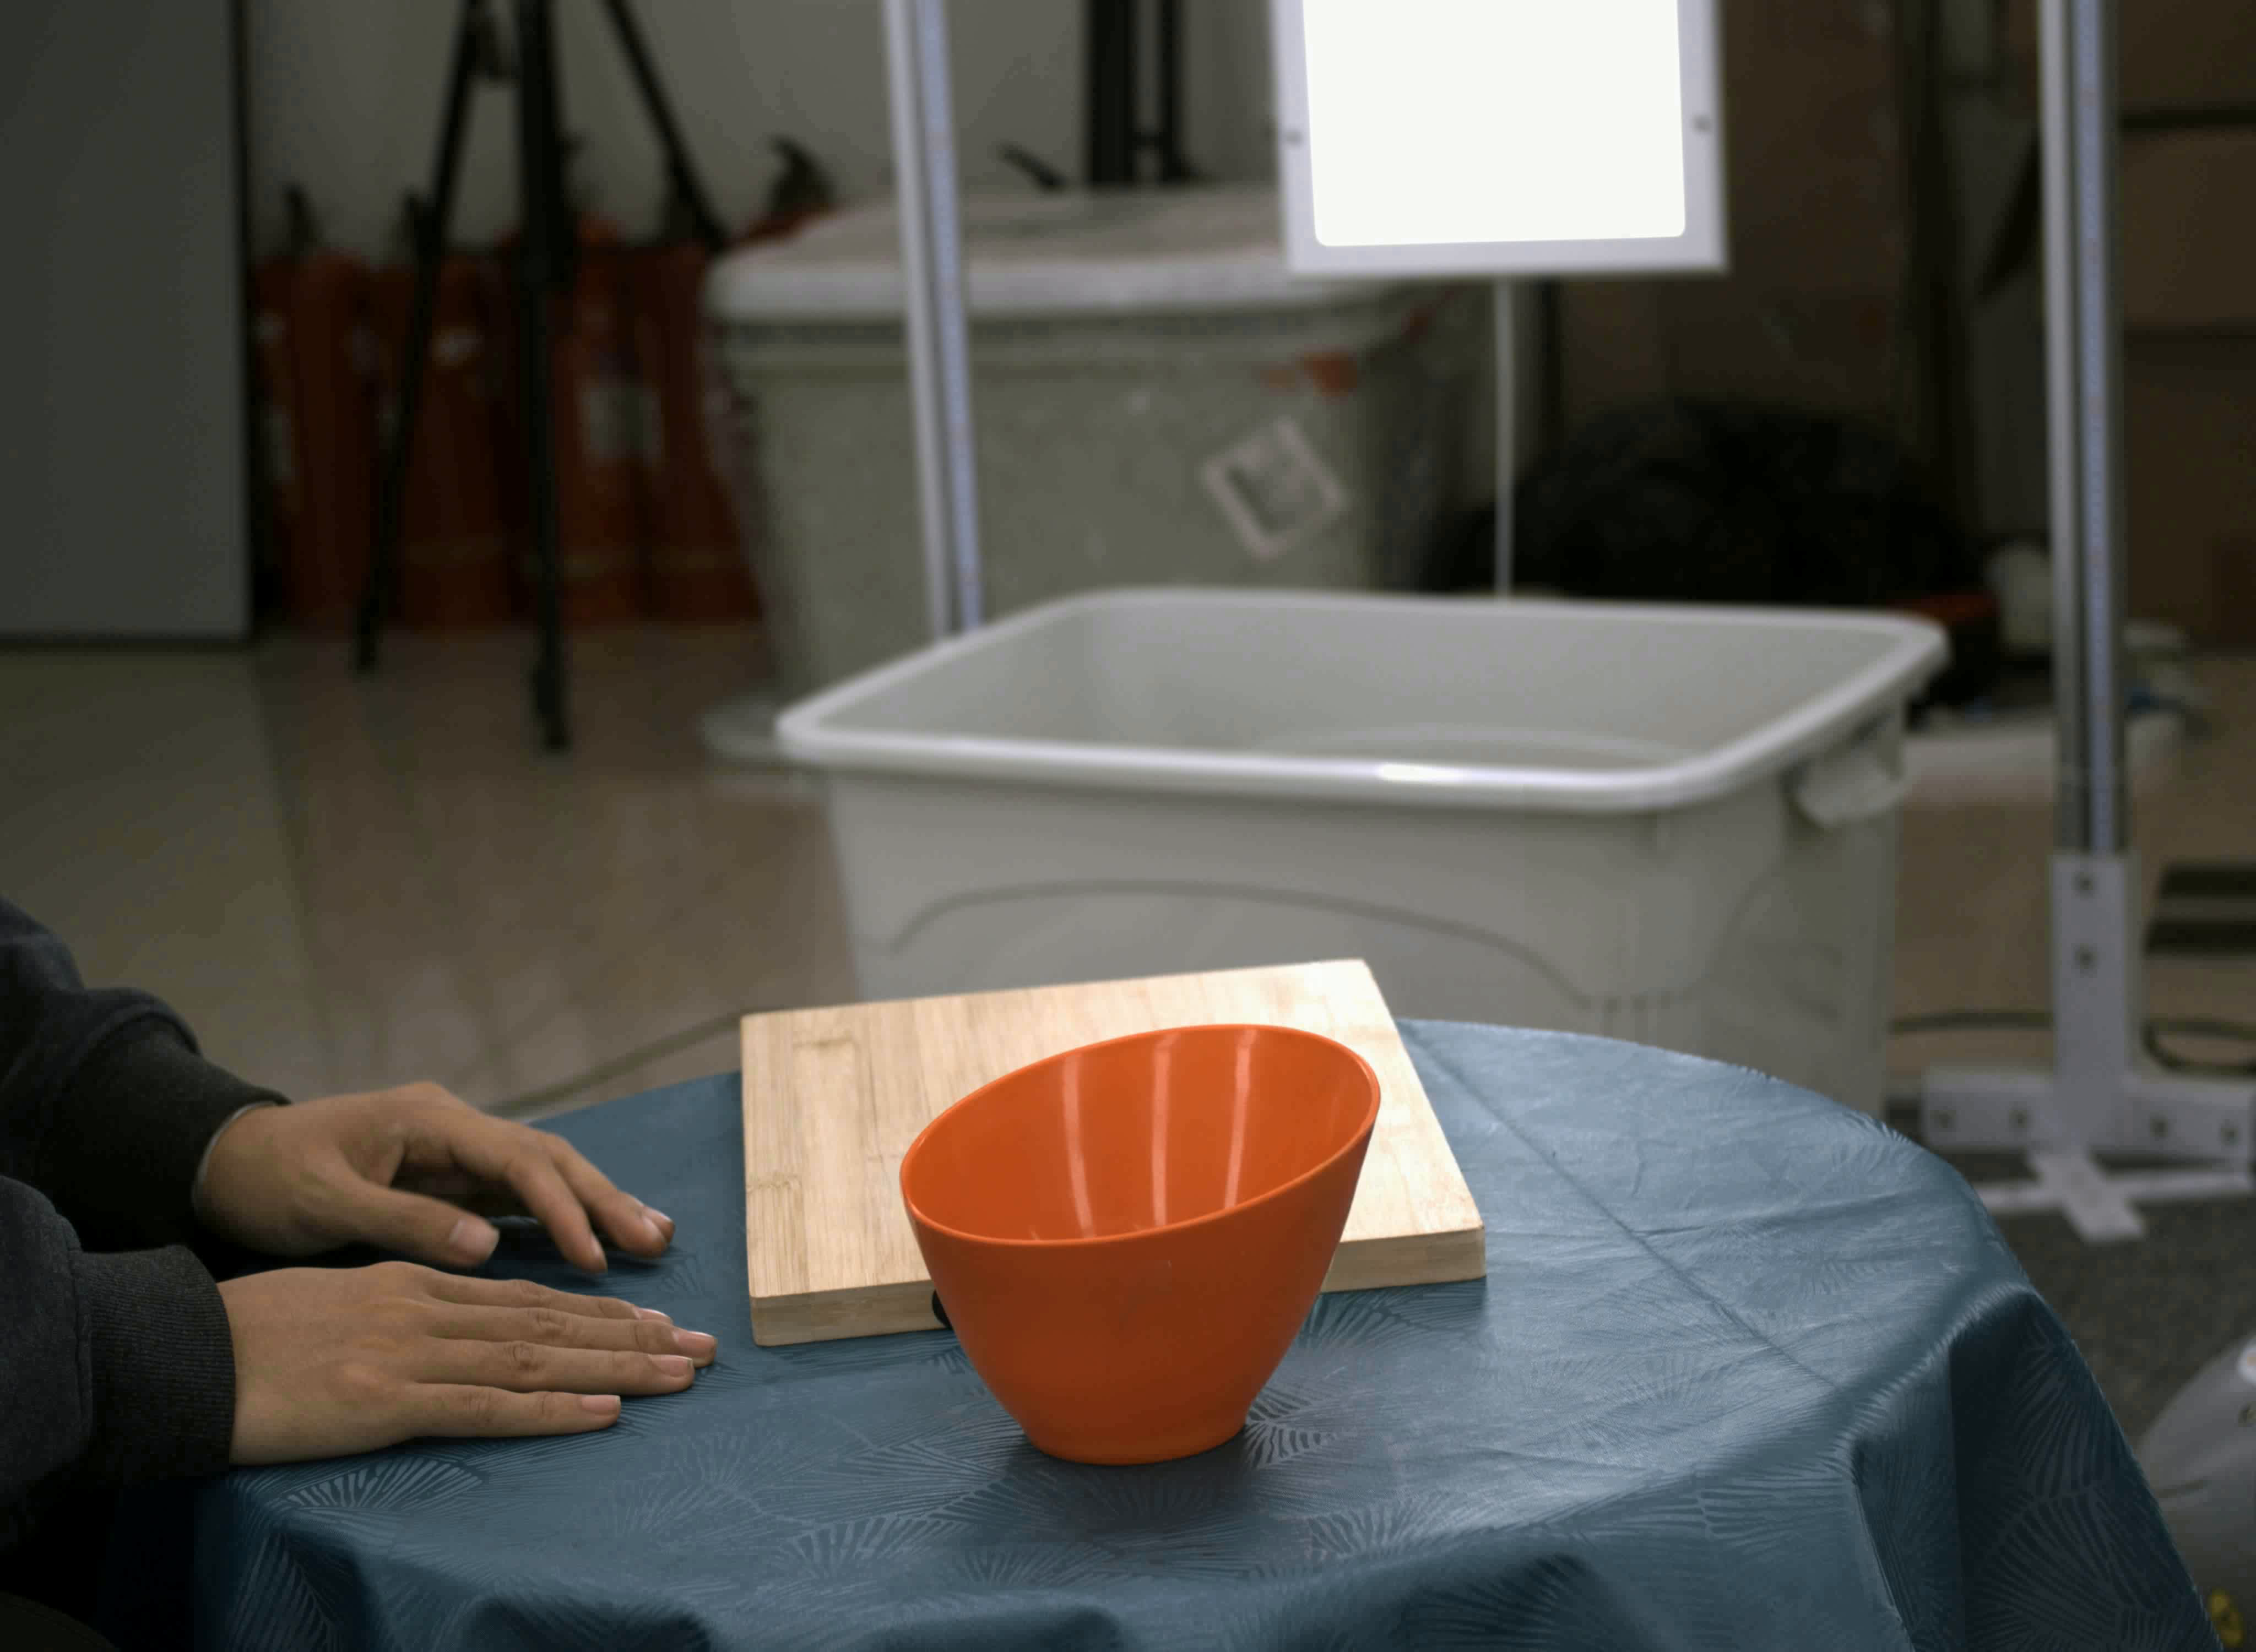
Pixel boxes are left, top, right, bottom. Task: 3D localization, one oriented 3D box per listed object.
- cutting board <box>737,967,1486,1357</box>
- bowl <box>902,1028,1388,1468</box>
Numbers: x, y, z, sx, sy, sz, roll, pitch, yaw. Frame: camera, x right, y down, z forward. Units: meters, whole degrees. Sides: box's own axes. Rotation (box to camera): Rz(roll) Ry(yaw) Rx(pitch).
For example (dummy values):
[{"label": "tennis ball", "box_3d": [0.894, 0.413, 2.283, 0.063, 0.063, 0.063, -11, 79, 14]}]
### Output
[{"label": "cutting board", "box_3d": [-0.015, 0.112, 1.930, 0.249, 0.023, 0.349, -6, 14, -3]}, {"label": "bowl", "box_3d": [0.007, 0.131, 1.662, 0.147, 0.105, 0.148, -4, 15, 0]}]
